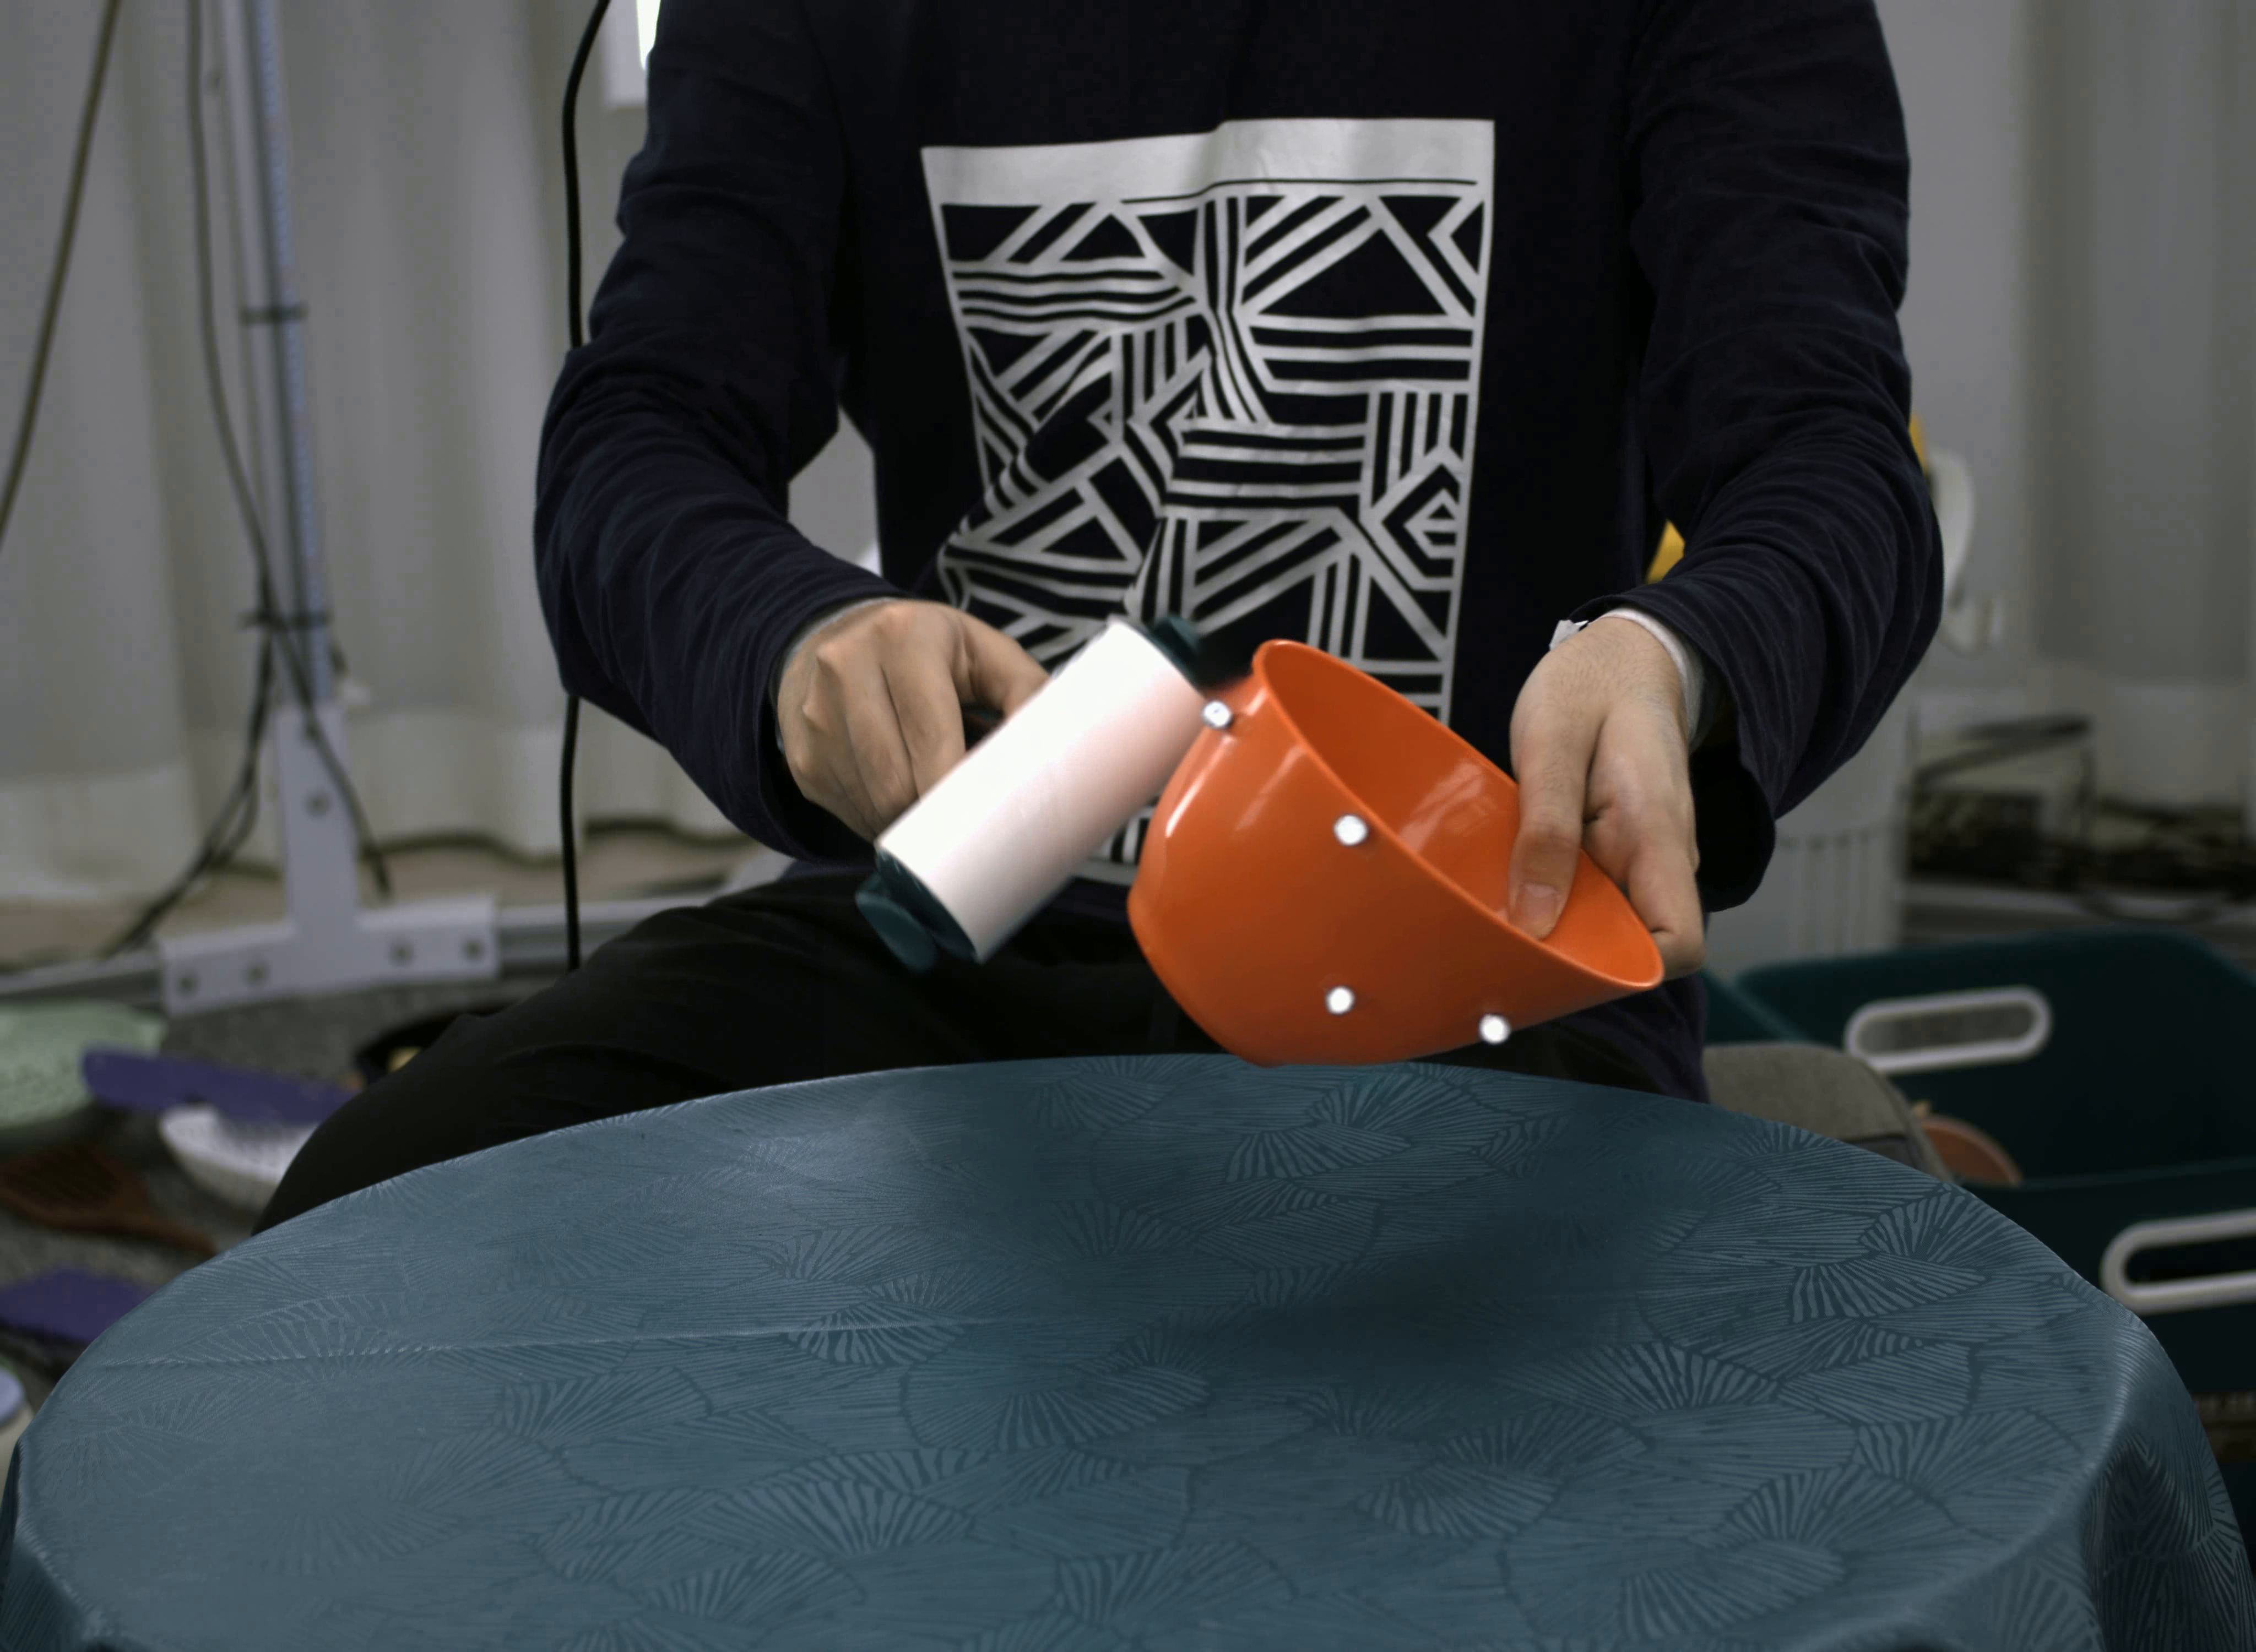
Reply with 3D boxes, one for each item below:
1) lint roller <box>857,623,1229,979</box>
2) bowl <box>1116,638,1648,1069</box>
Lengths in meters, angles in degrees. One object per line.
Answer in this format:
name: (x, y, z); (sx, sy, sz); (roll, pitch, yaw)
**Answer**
lint roller: (-0.048, -0.018, 1.693); (0.134, 0.048, 0.181); (-43, 22, -11)
bowl: (0.062, 0.022, 1.566); (0.104, 0.147, 0.149); (-40, 6, 16)
